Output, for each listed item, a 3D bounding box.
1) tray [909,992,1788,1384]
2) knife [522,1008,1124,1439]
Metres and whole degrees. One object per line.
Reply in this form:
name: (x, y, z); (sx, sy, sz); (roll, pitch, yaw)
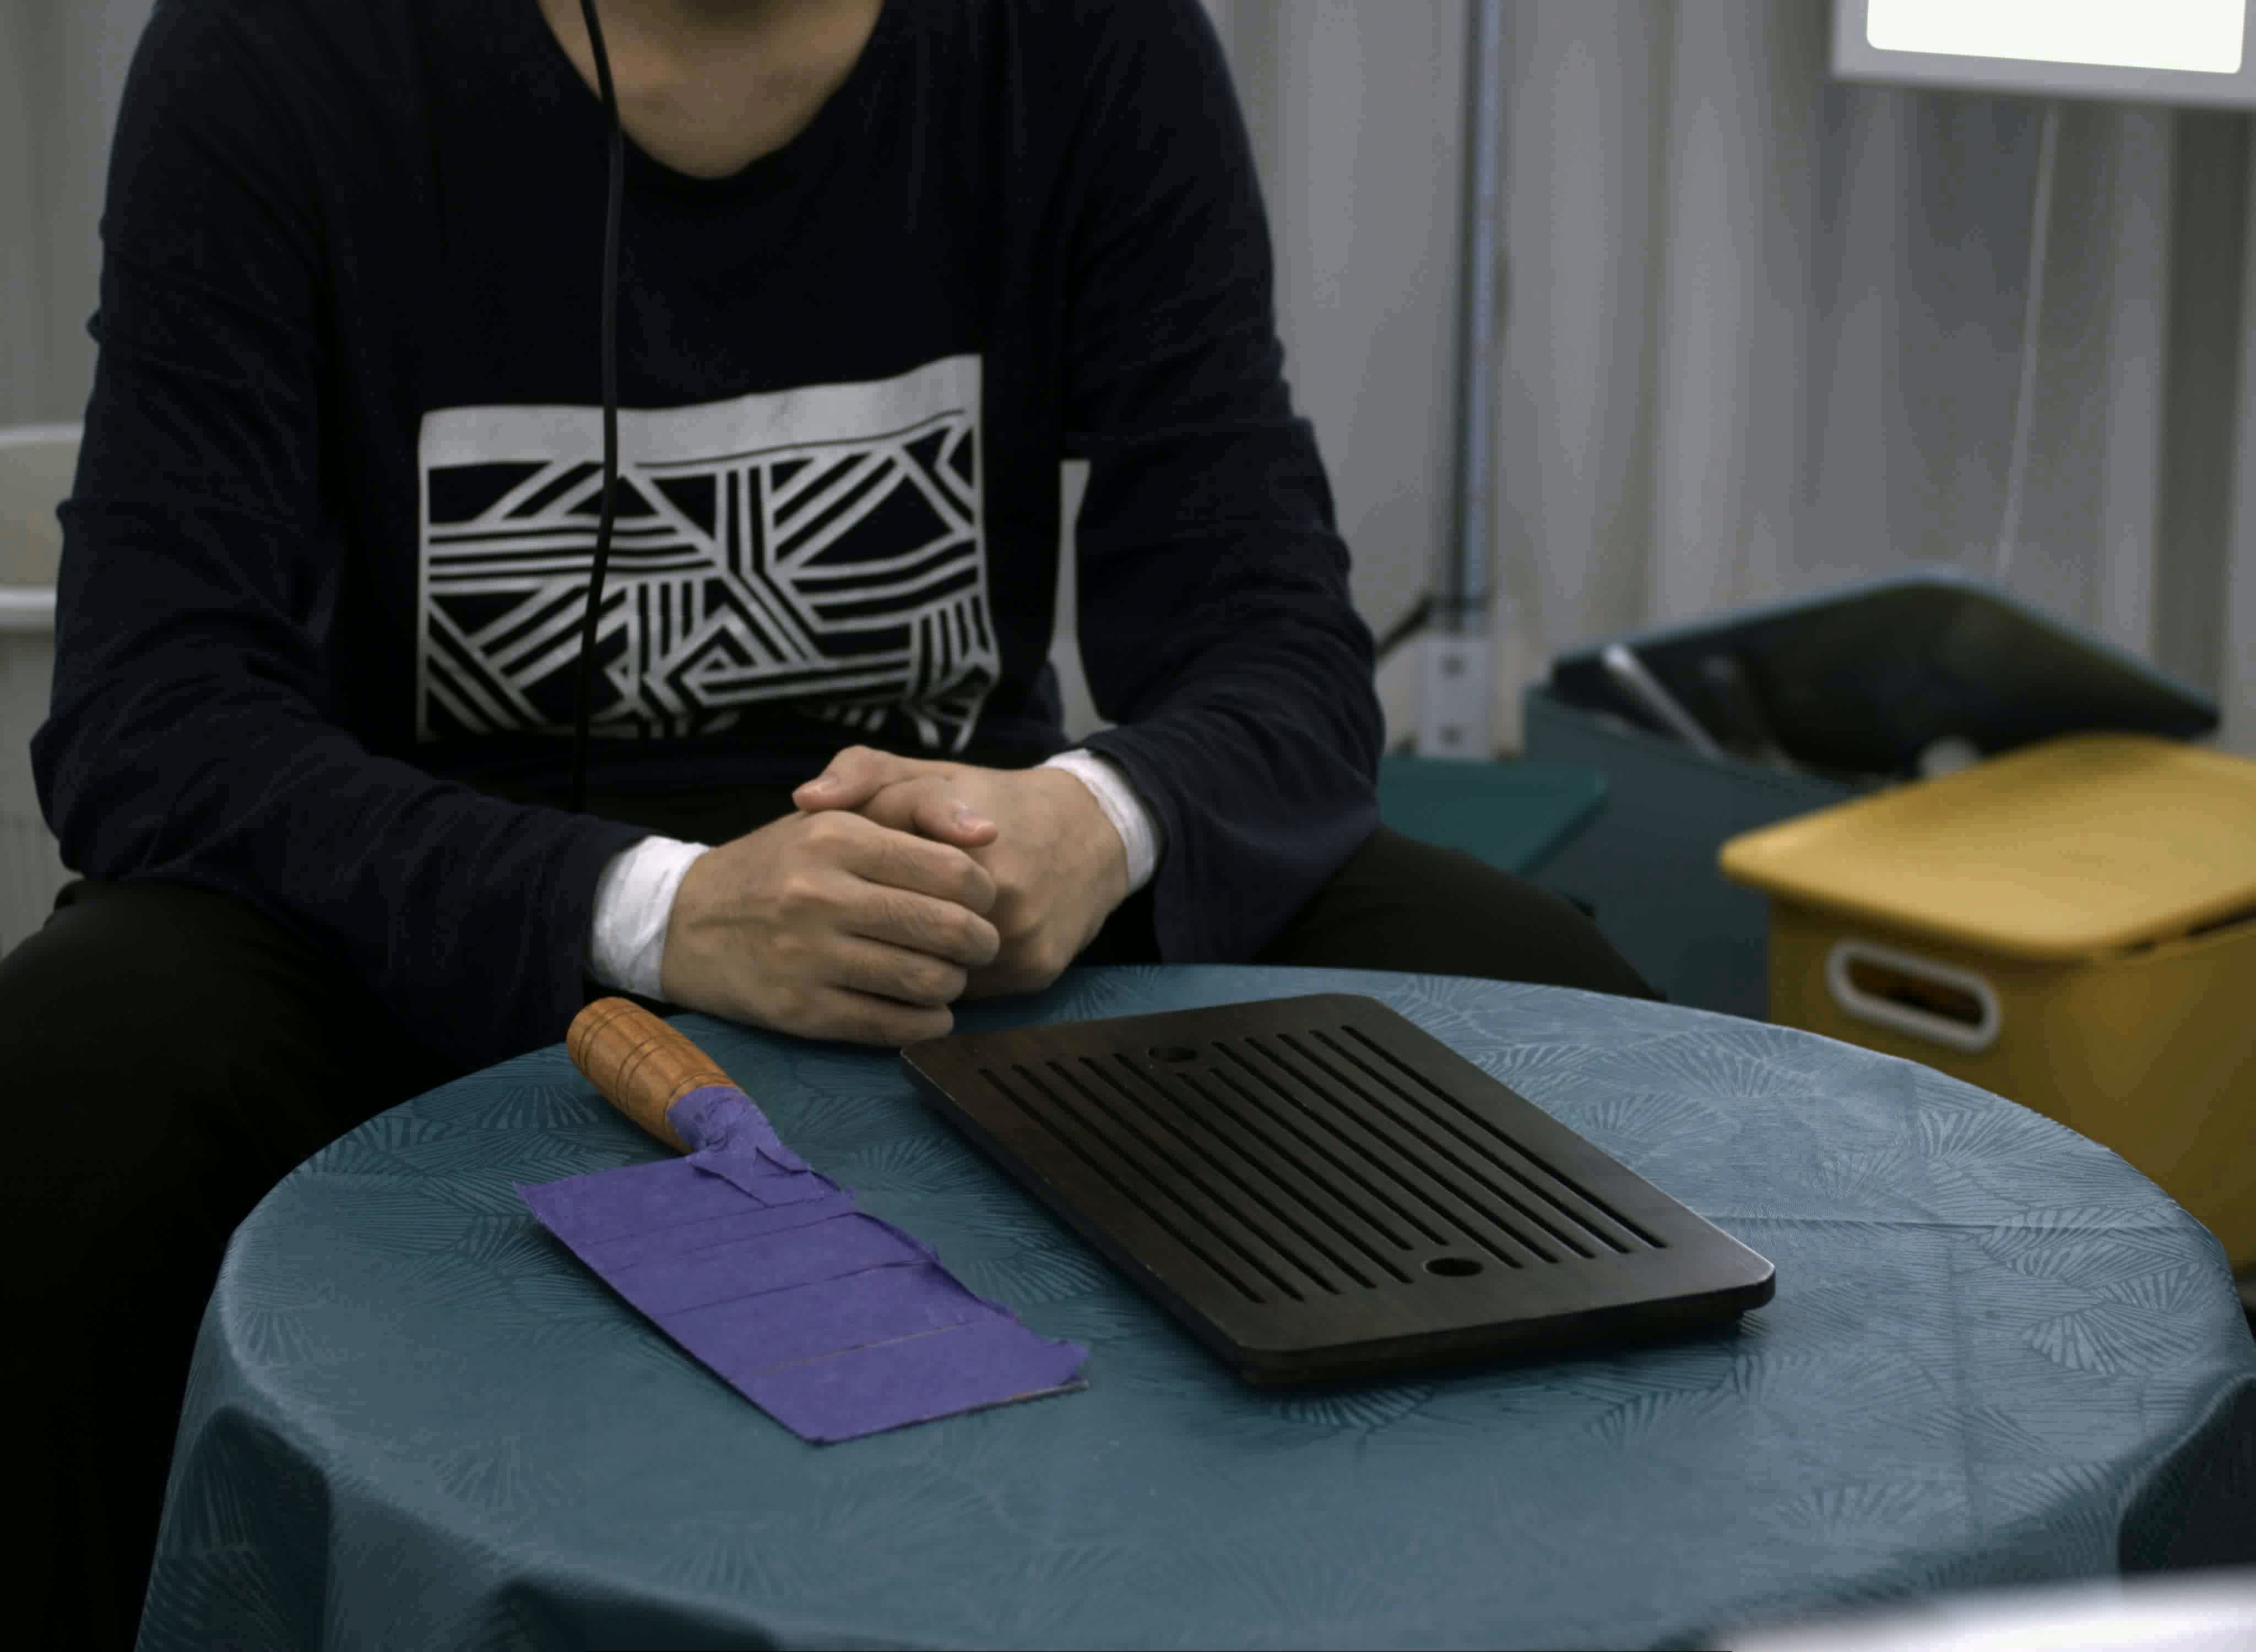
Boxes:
tray: (0.059, 0.107, 1.612); (0.170, 0.019, 0.302); (-6, 16, -21)
knife: (-0.121, 0.114, 1.564); (0.104, 0.032, 0.311); (-8, 18, -29)
